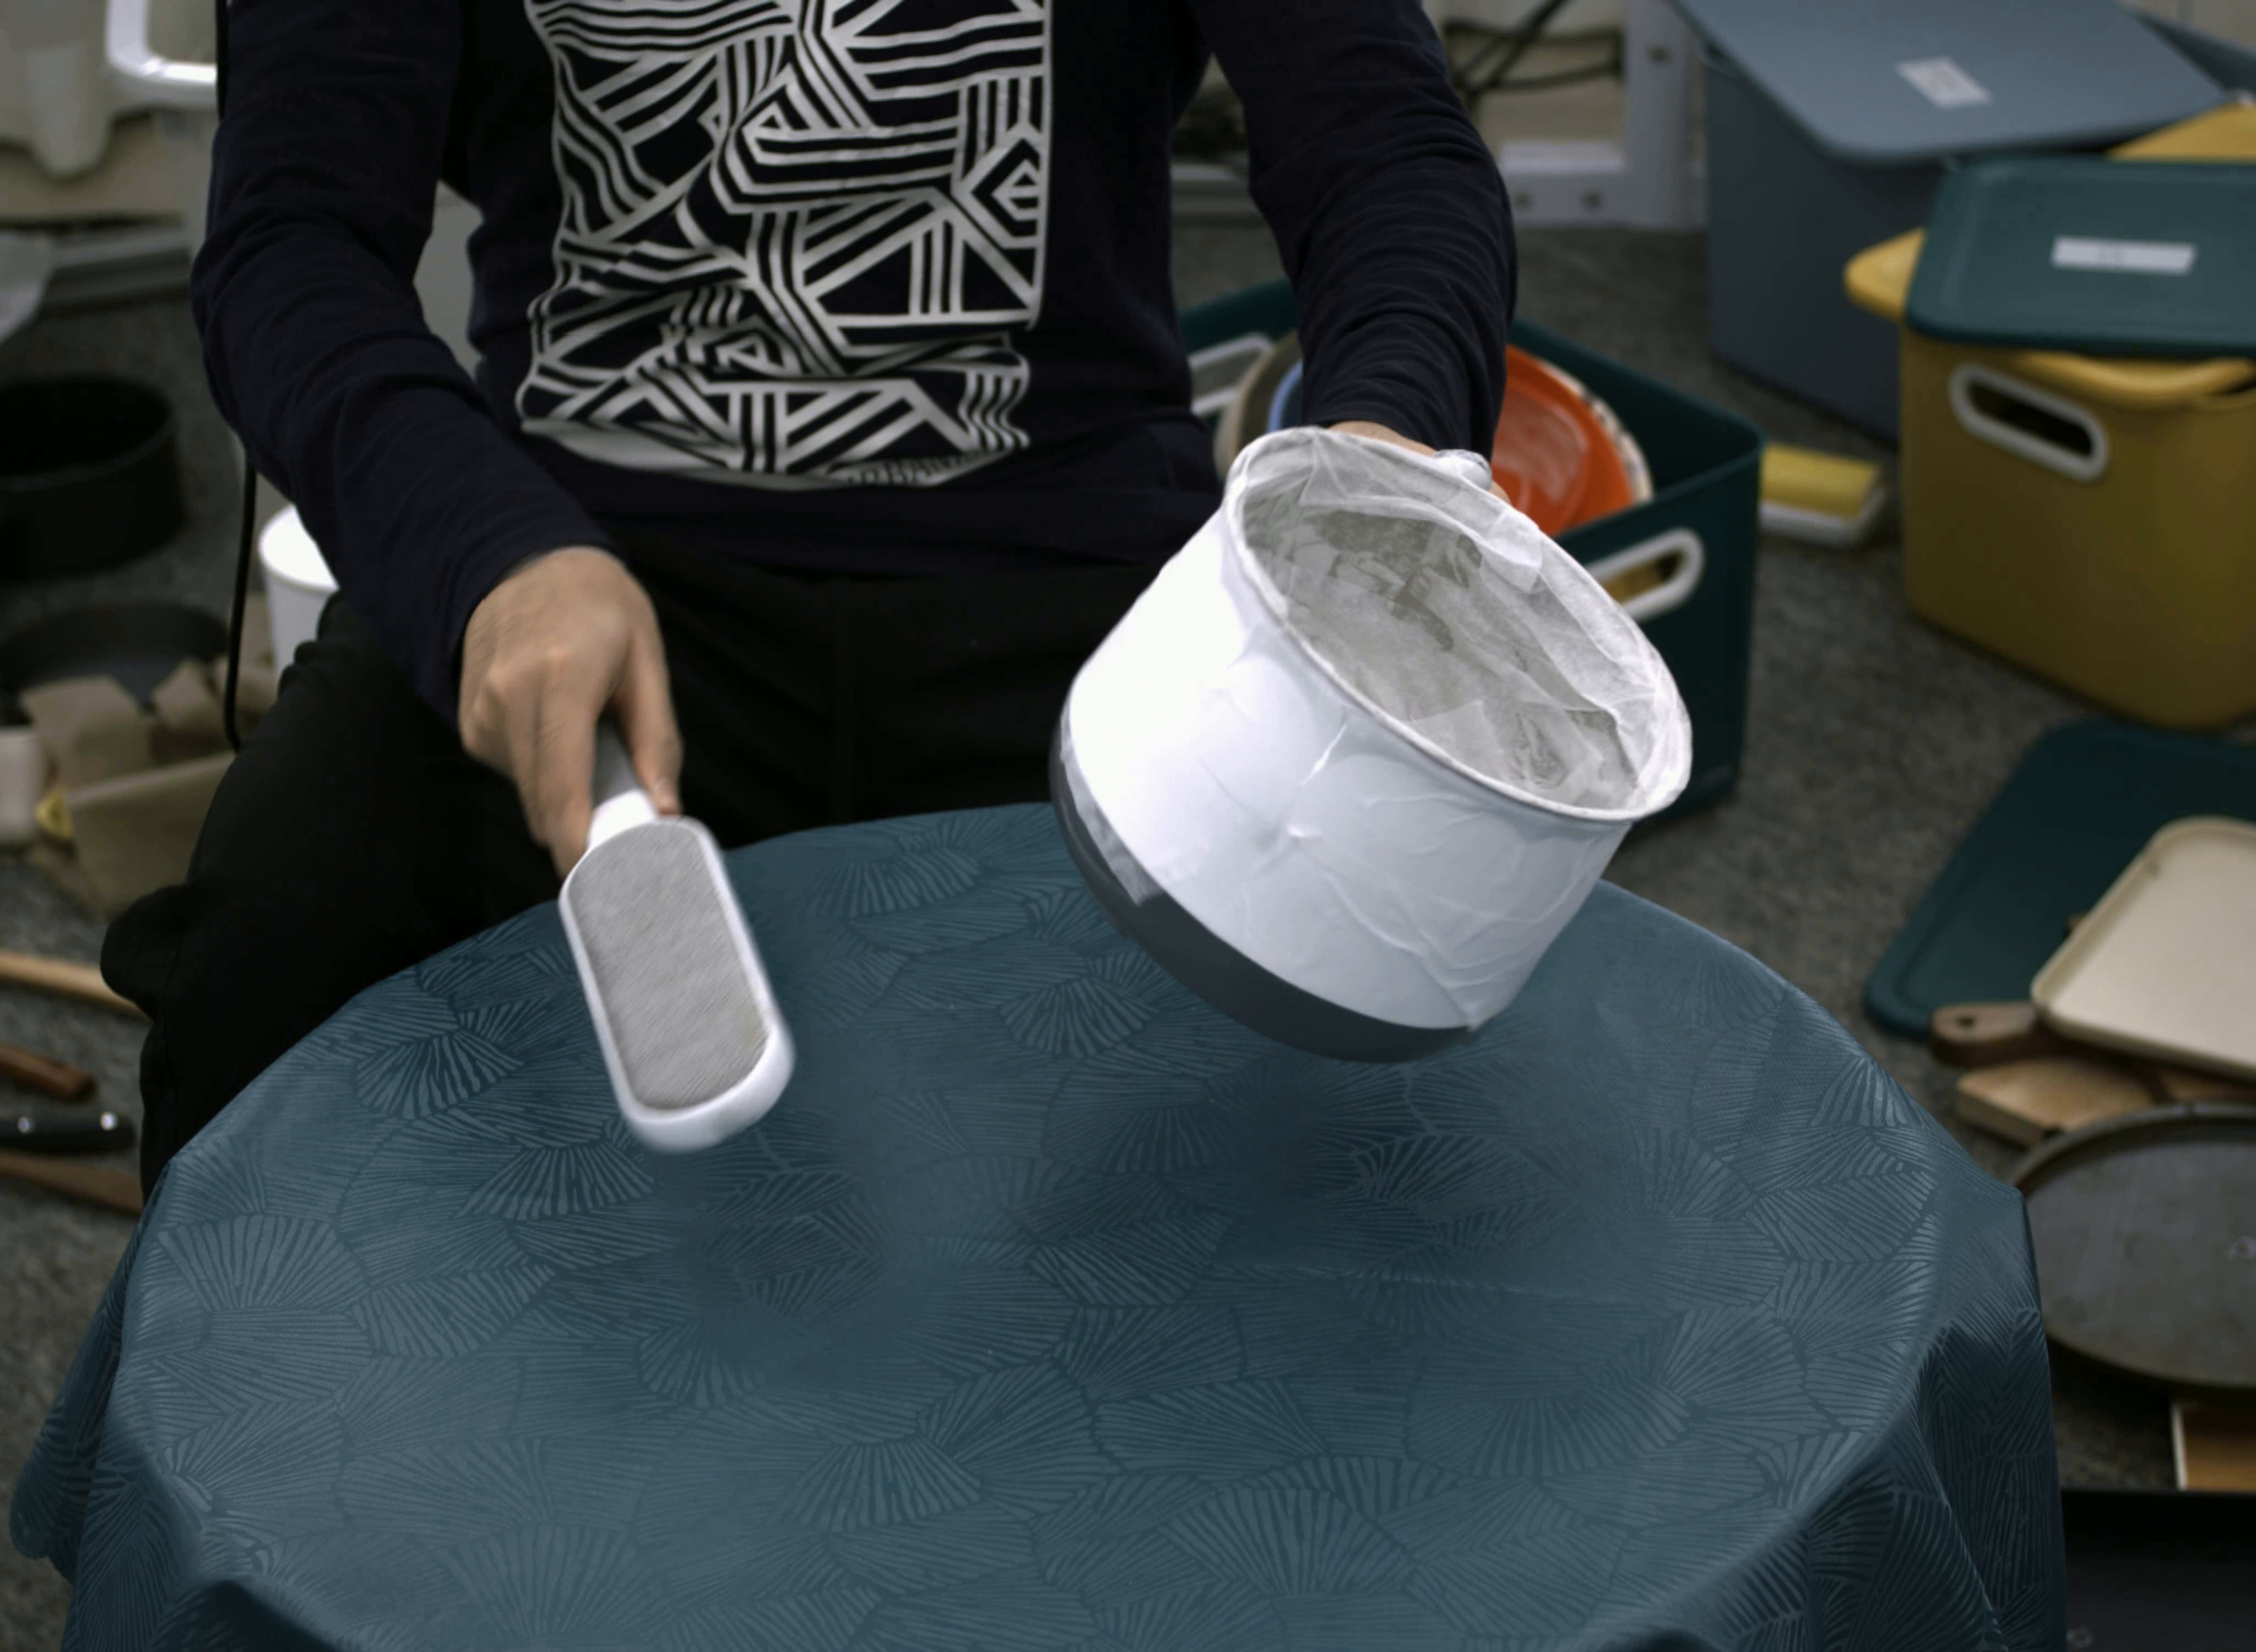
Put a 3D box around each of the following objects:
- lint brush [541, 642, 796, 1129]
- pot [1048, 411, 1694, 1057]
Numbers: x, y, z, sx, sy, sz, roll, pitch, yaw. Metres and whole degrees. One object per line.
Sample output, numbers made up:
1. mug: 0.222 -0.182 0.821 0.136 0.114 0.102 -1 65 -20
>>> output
1. lint brush: -0.161 0.013 1.892 0.060 0.021 0.312 -30 32 2
2. pot: 0.075 -0.040 1.833 0.178 0.134 0.238 33 30 -15
